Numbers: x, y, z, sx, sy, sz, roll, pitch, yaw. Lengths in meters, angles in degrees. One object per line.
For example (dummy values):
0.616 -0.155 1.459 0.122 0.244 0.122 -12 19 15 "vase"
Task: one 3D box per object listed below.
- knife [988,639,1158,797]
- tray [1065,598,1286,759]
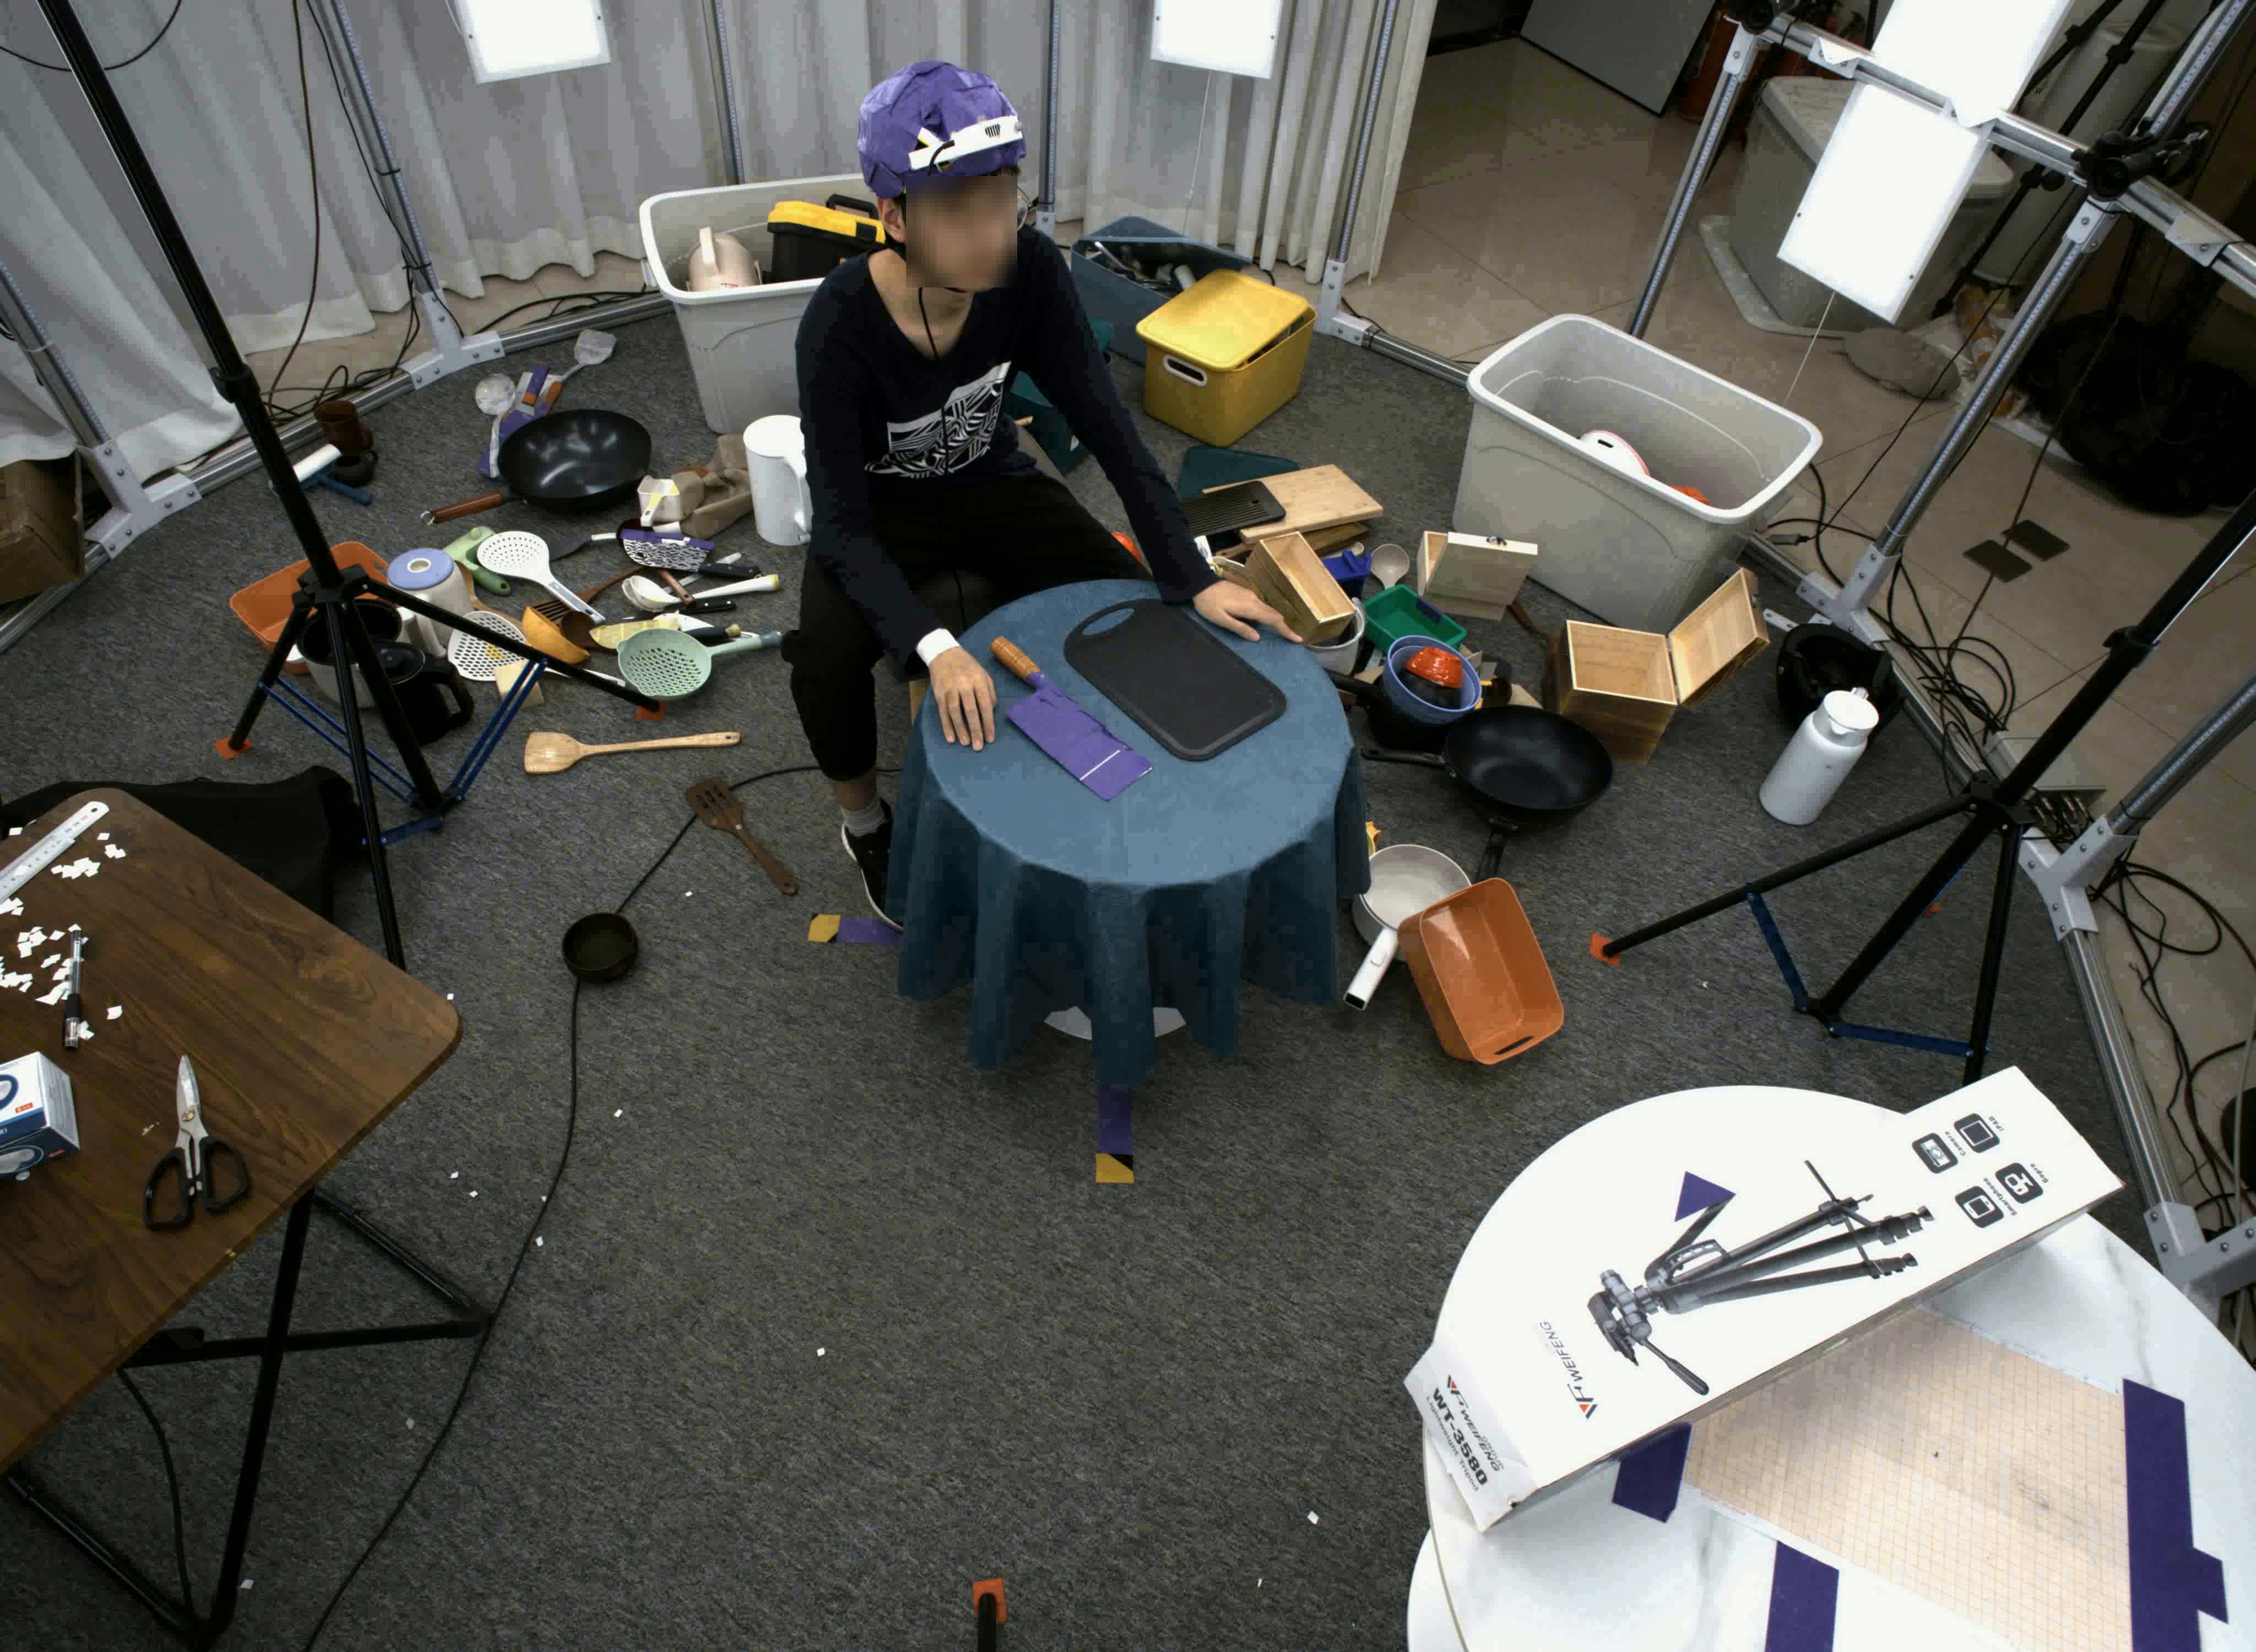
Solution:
-0.102 -0.153 1.775 0.105 0.031 0.320 -35 60 -29 "knife"
0.061 -0.225 1.862 0.212 0.009 0.331 -30 57 -27 "tray"
